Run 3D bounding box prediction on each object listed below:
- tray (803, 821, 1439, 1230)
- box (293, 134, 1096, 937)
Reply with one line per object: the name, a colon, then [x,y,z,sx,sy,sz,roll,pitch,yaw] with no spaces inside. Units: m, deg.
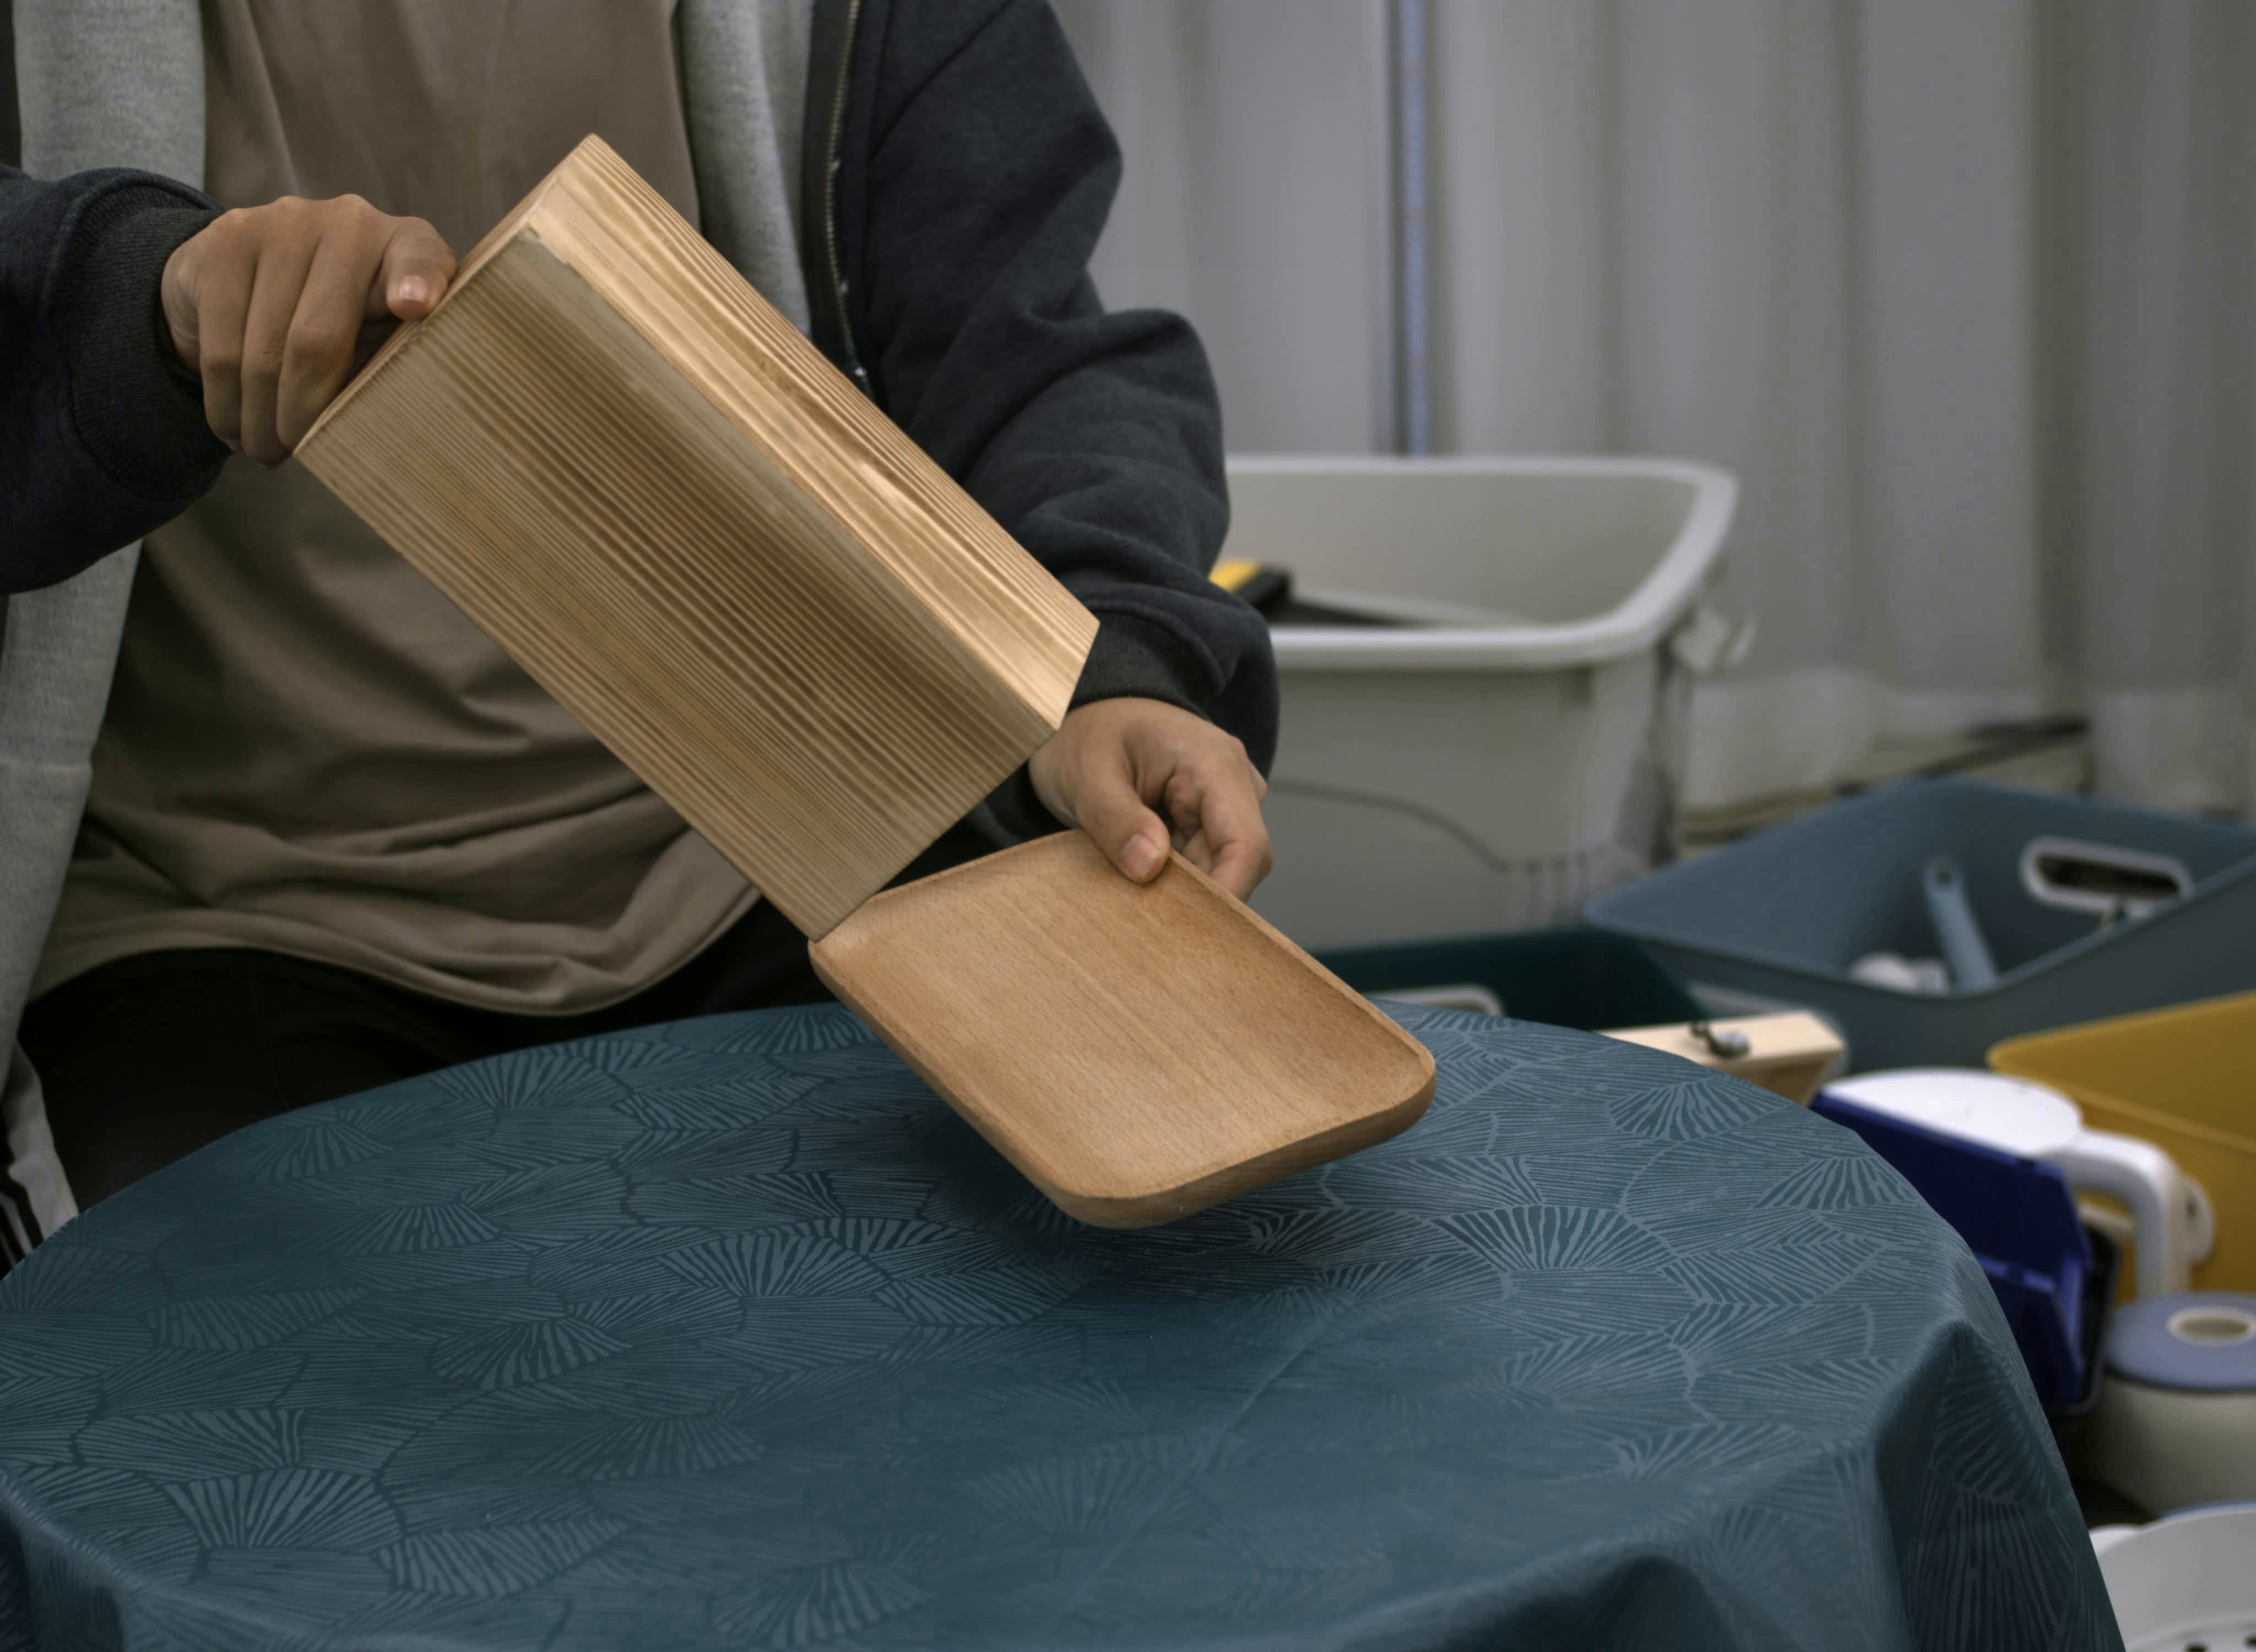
tray: [-0.006,0.060,1.717,0.130,0.023,0.253,-16,24,-19]
box: [-0.125,-0.085,1.610,0.107,0.210,0.081,-42,12,25]
